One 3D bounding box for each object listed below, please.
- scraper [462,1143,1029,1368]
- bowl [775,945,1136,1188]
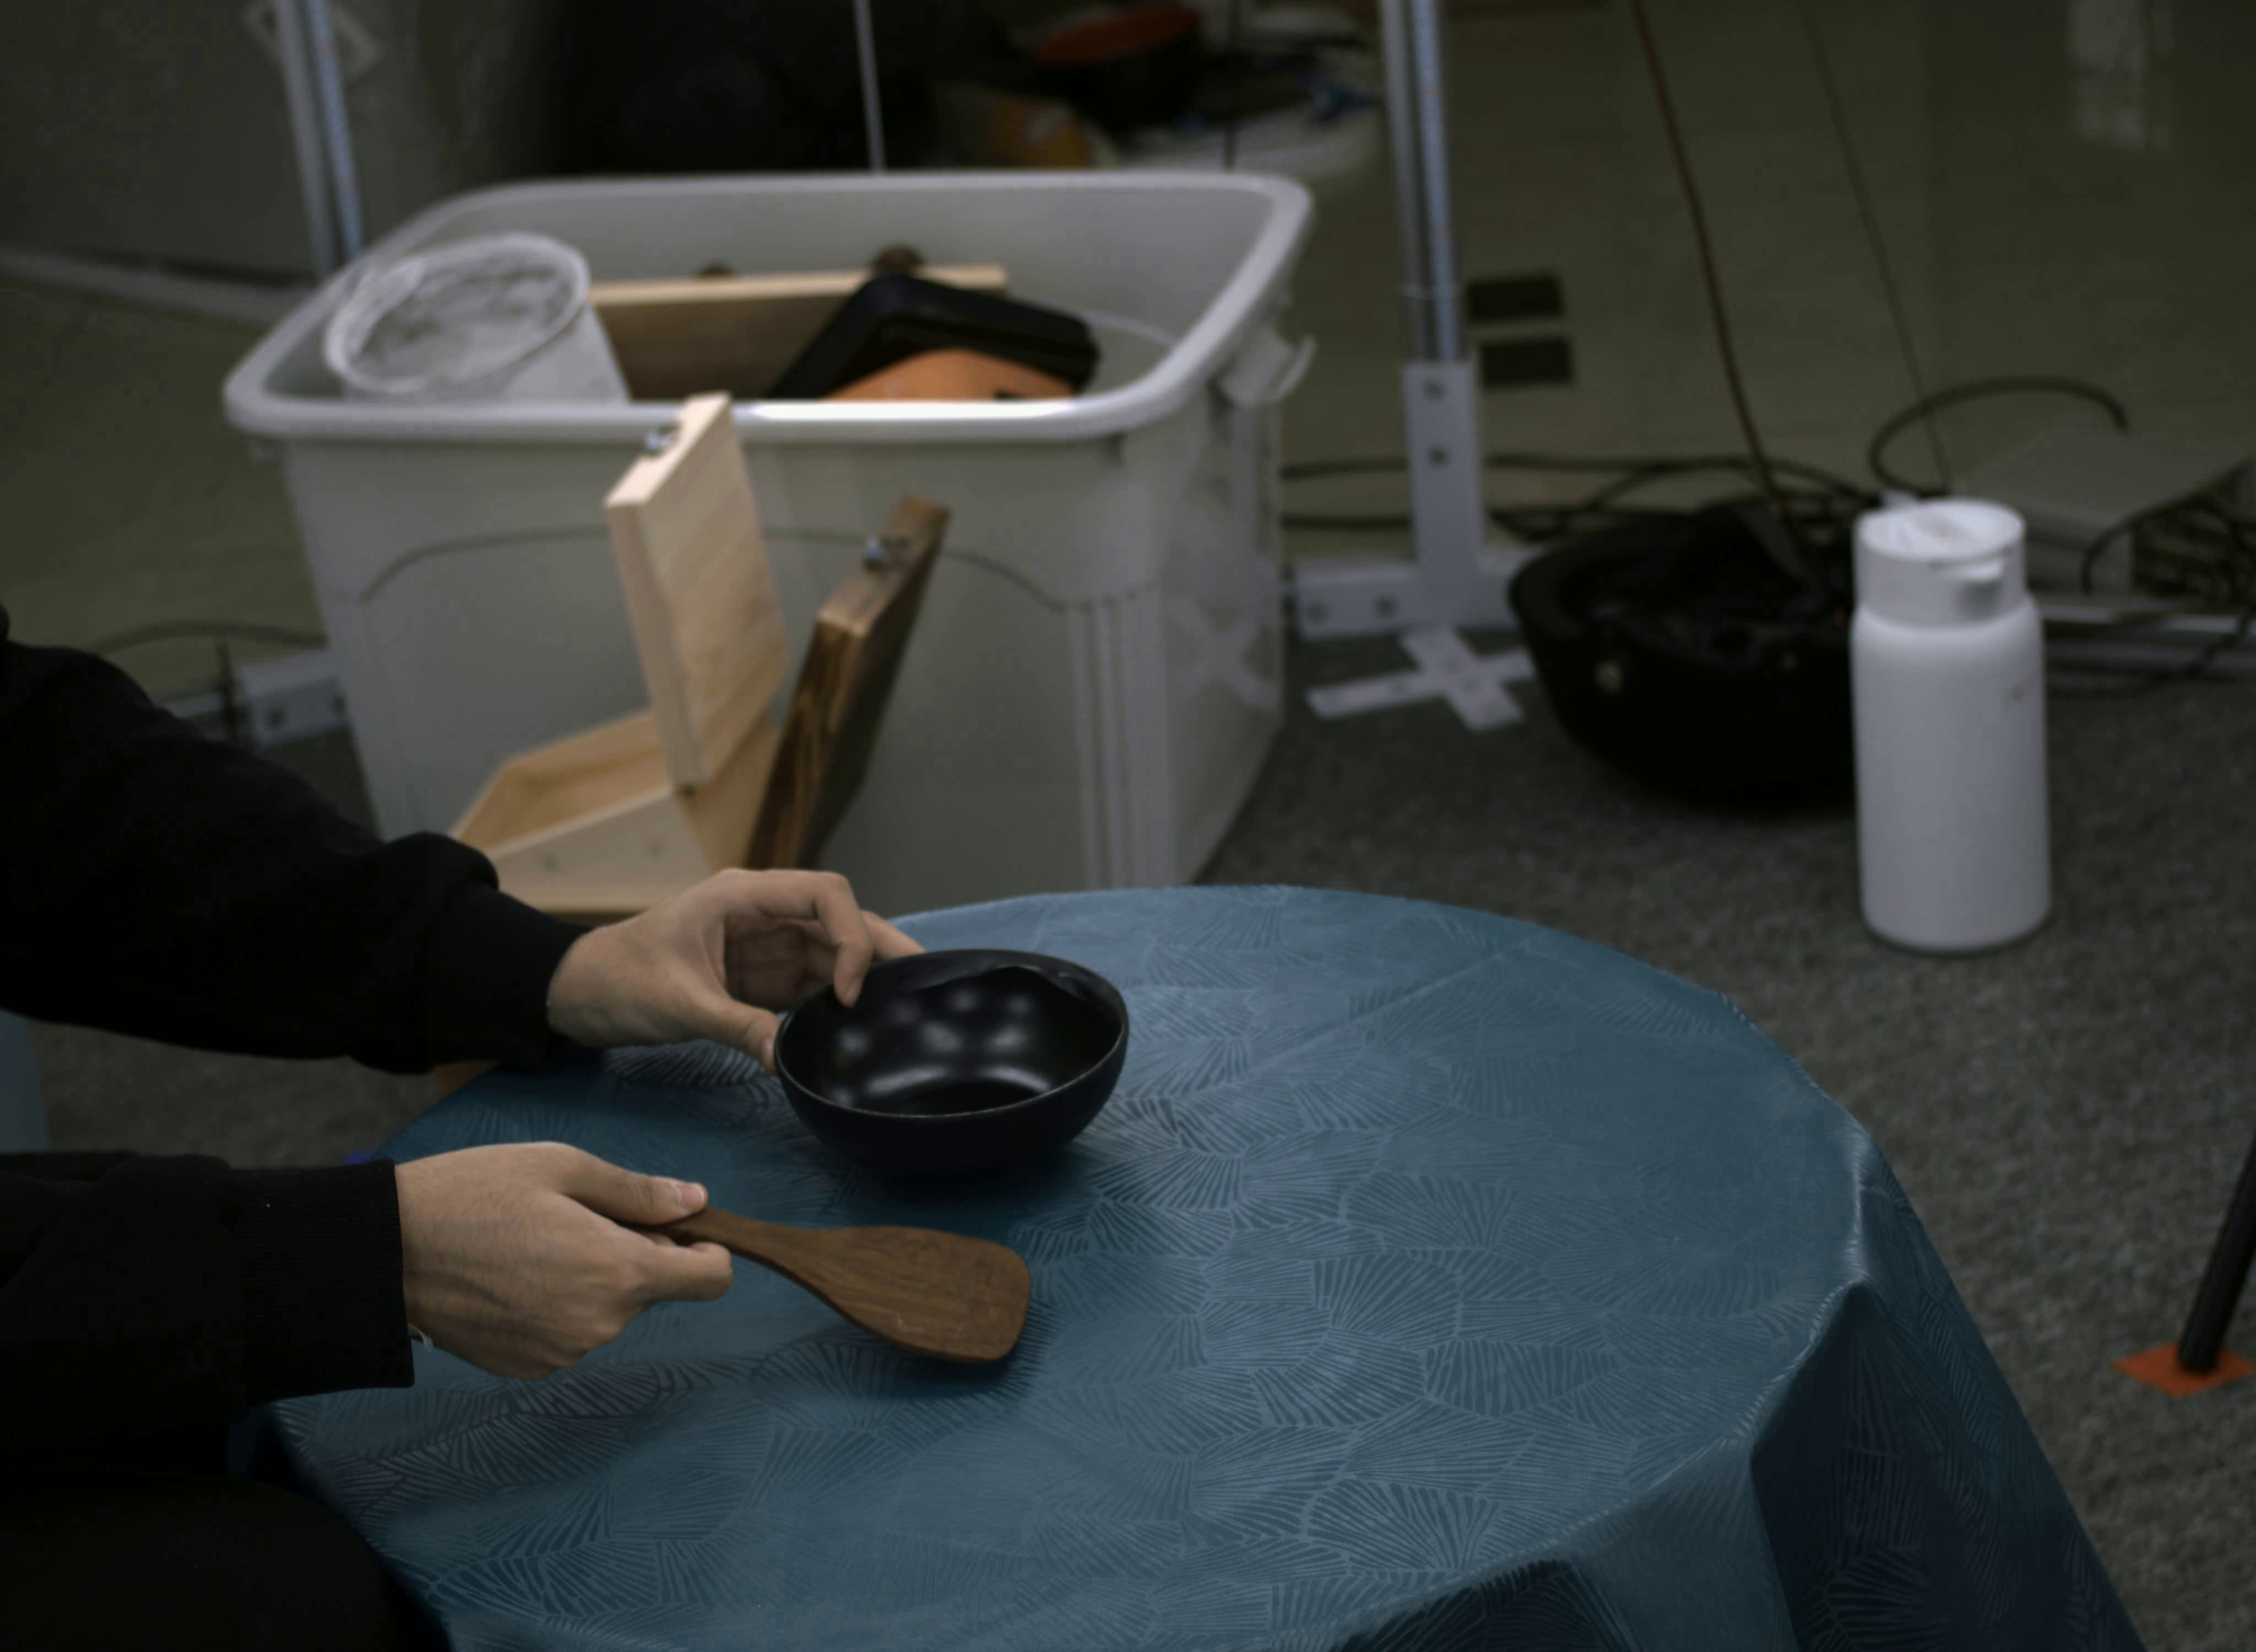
[{"bbox_3d":[-0.139,0.150,2.055,0.211,0.011,0.074,16,30,-2],"label":"scraper"},{"bbox_3d":[-0.065,0.101,2.192,0.140,0.050,0.138,-5,29,3],"label":"bowl"}]
